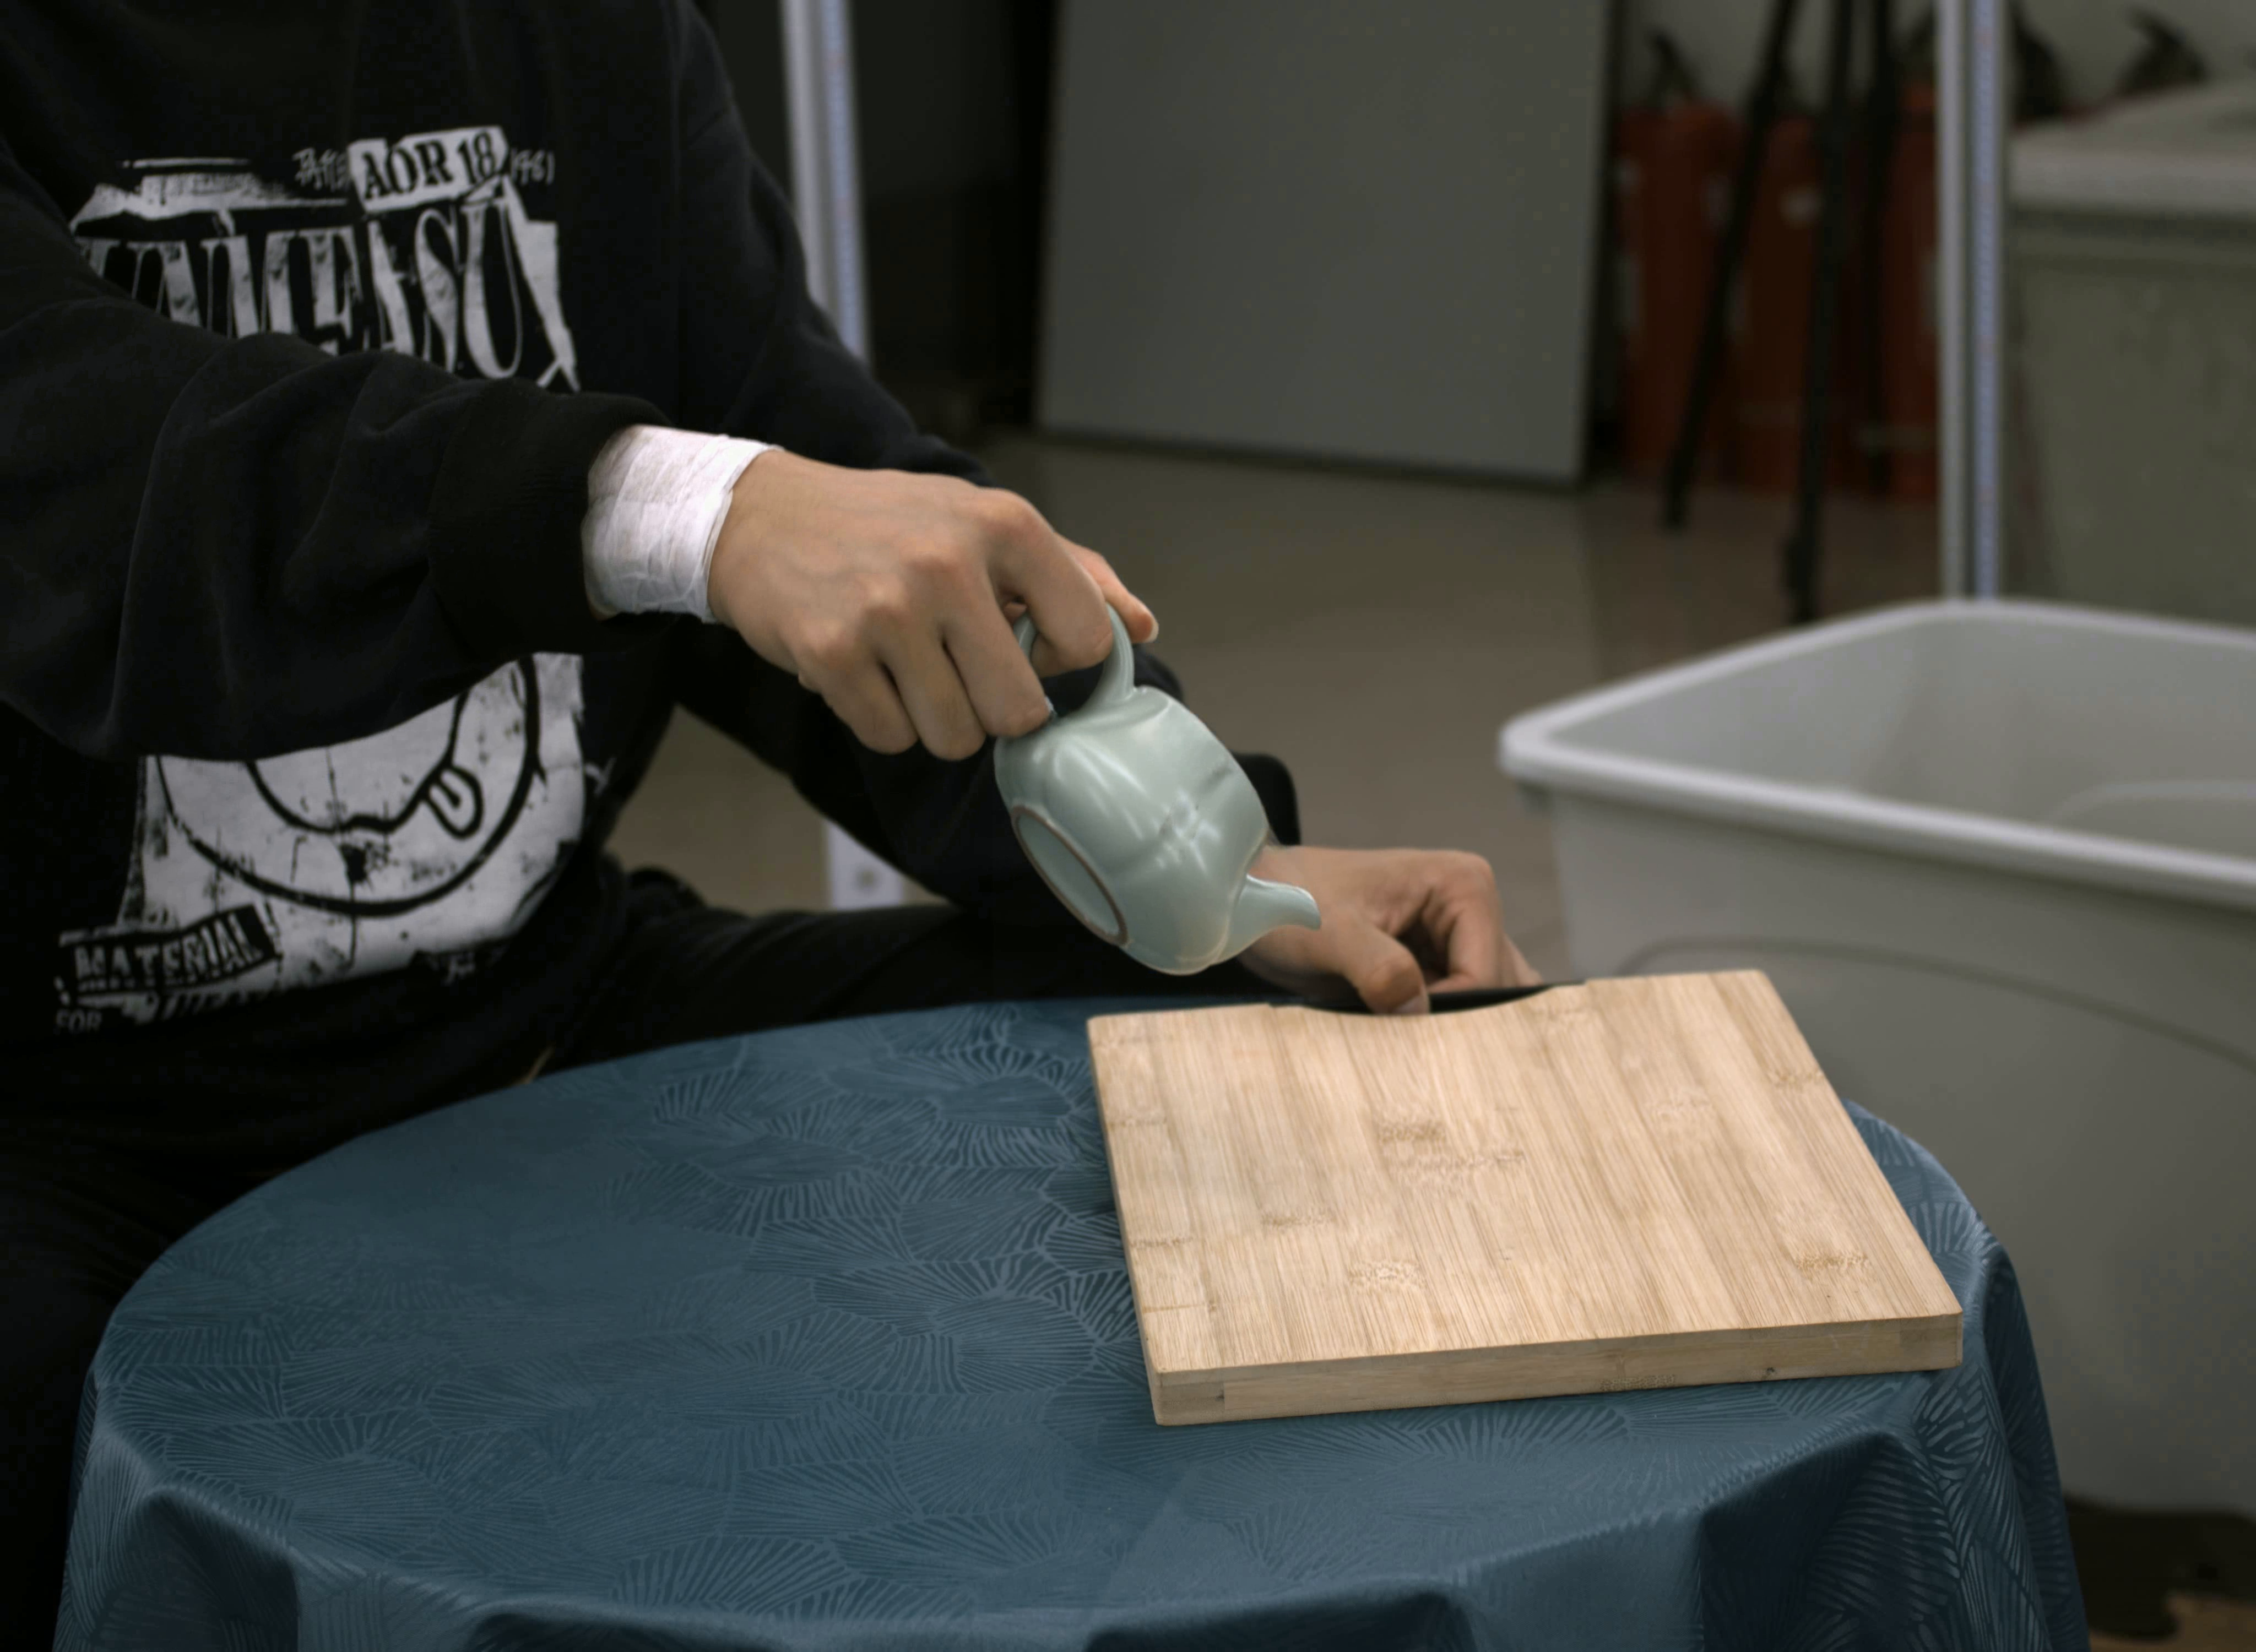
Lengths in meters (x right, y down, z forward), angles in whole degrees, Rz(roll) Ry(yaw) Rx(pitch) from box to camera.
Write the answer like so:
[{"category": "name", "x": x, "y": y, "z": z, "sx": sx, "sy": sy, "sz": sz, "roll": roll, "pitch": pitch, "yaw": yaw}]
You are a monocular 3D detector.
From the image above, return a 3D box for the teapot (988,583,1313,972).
[{"category": "teapot", "x": -0.001, "y": -0.008, "z": 1.635, "sx": 0.061, "sy": 0.137, "sz": 0.097, "roll": -39, "pitch": 16, "yaw": -13}]

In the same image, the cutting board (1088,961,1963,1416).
[{"category": "cutting board", "x": 0.115, "y": 0.111, "z": 1.726, "sx": 0.247, "sy": 0.024, "sz": 0.350, "roll": -5, "pitch": 16, "yaw": -3}]
